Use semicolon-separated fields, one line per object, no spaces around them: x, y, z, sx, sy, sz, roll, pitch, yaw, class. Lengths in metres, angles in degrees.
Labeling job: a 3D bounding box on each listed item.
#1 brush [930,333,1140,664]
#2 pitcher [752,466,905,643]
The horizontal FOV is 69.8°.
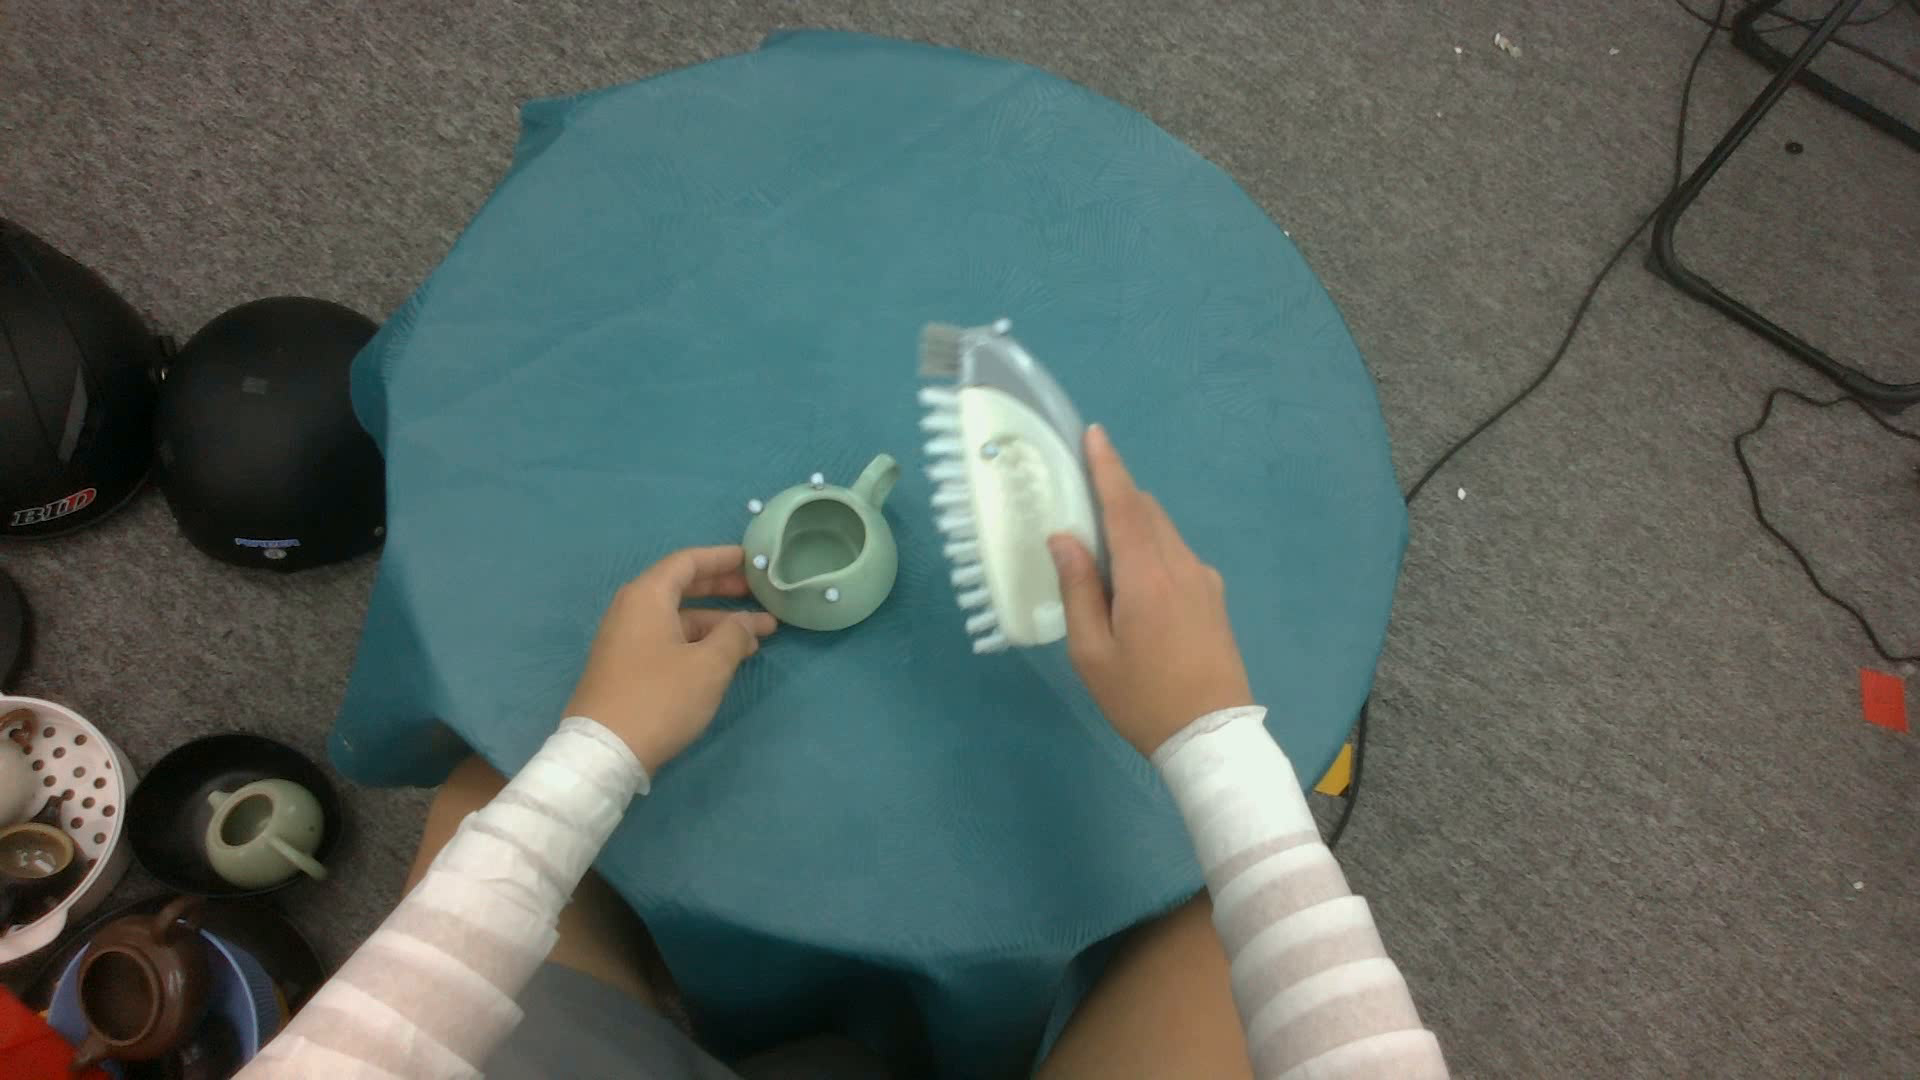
0.040;-0.028;0.705;0.062;0.094;0.175;-17;93;-50;brush
-0.065;0.005;0.767;0.086;0.060;0.108;33;63;5;pitcher
